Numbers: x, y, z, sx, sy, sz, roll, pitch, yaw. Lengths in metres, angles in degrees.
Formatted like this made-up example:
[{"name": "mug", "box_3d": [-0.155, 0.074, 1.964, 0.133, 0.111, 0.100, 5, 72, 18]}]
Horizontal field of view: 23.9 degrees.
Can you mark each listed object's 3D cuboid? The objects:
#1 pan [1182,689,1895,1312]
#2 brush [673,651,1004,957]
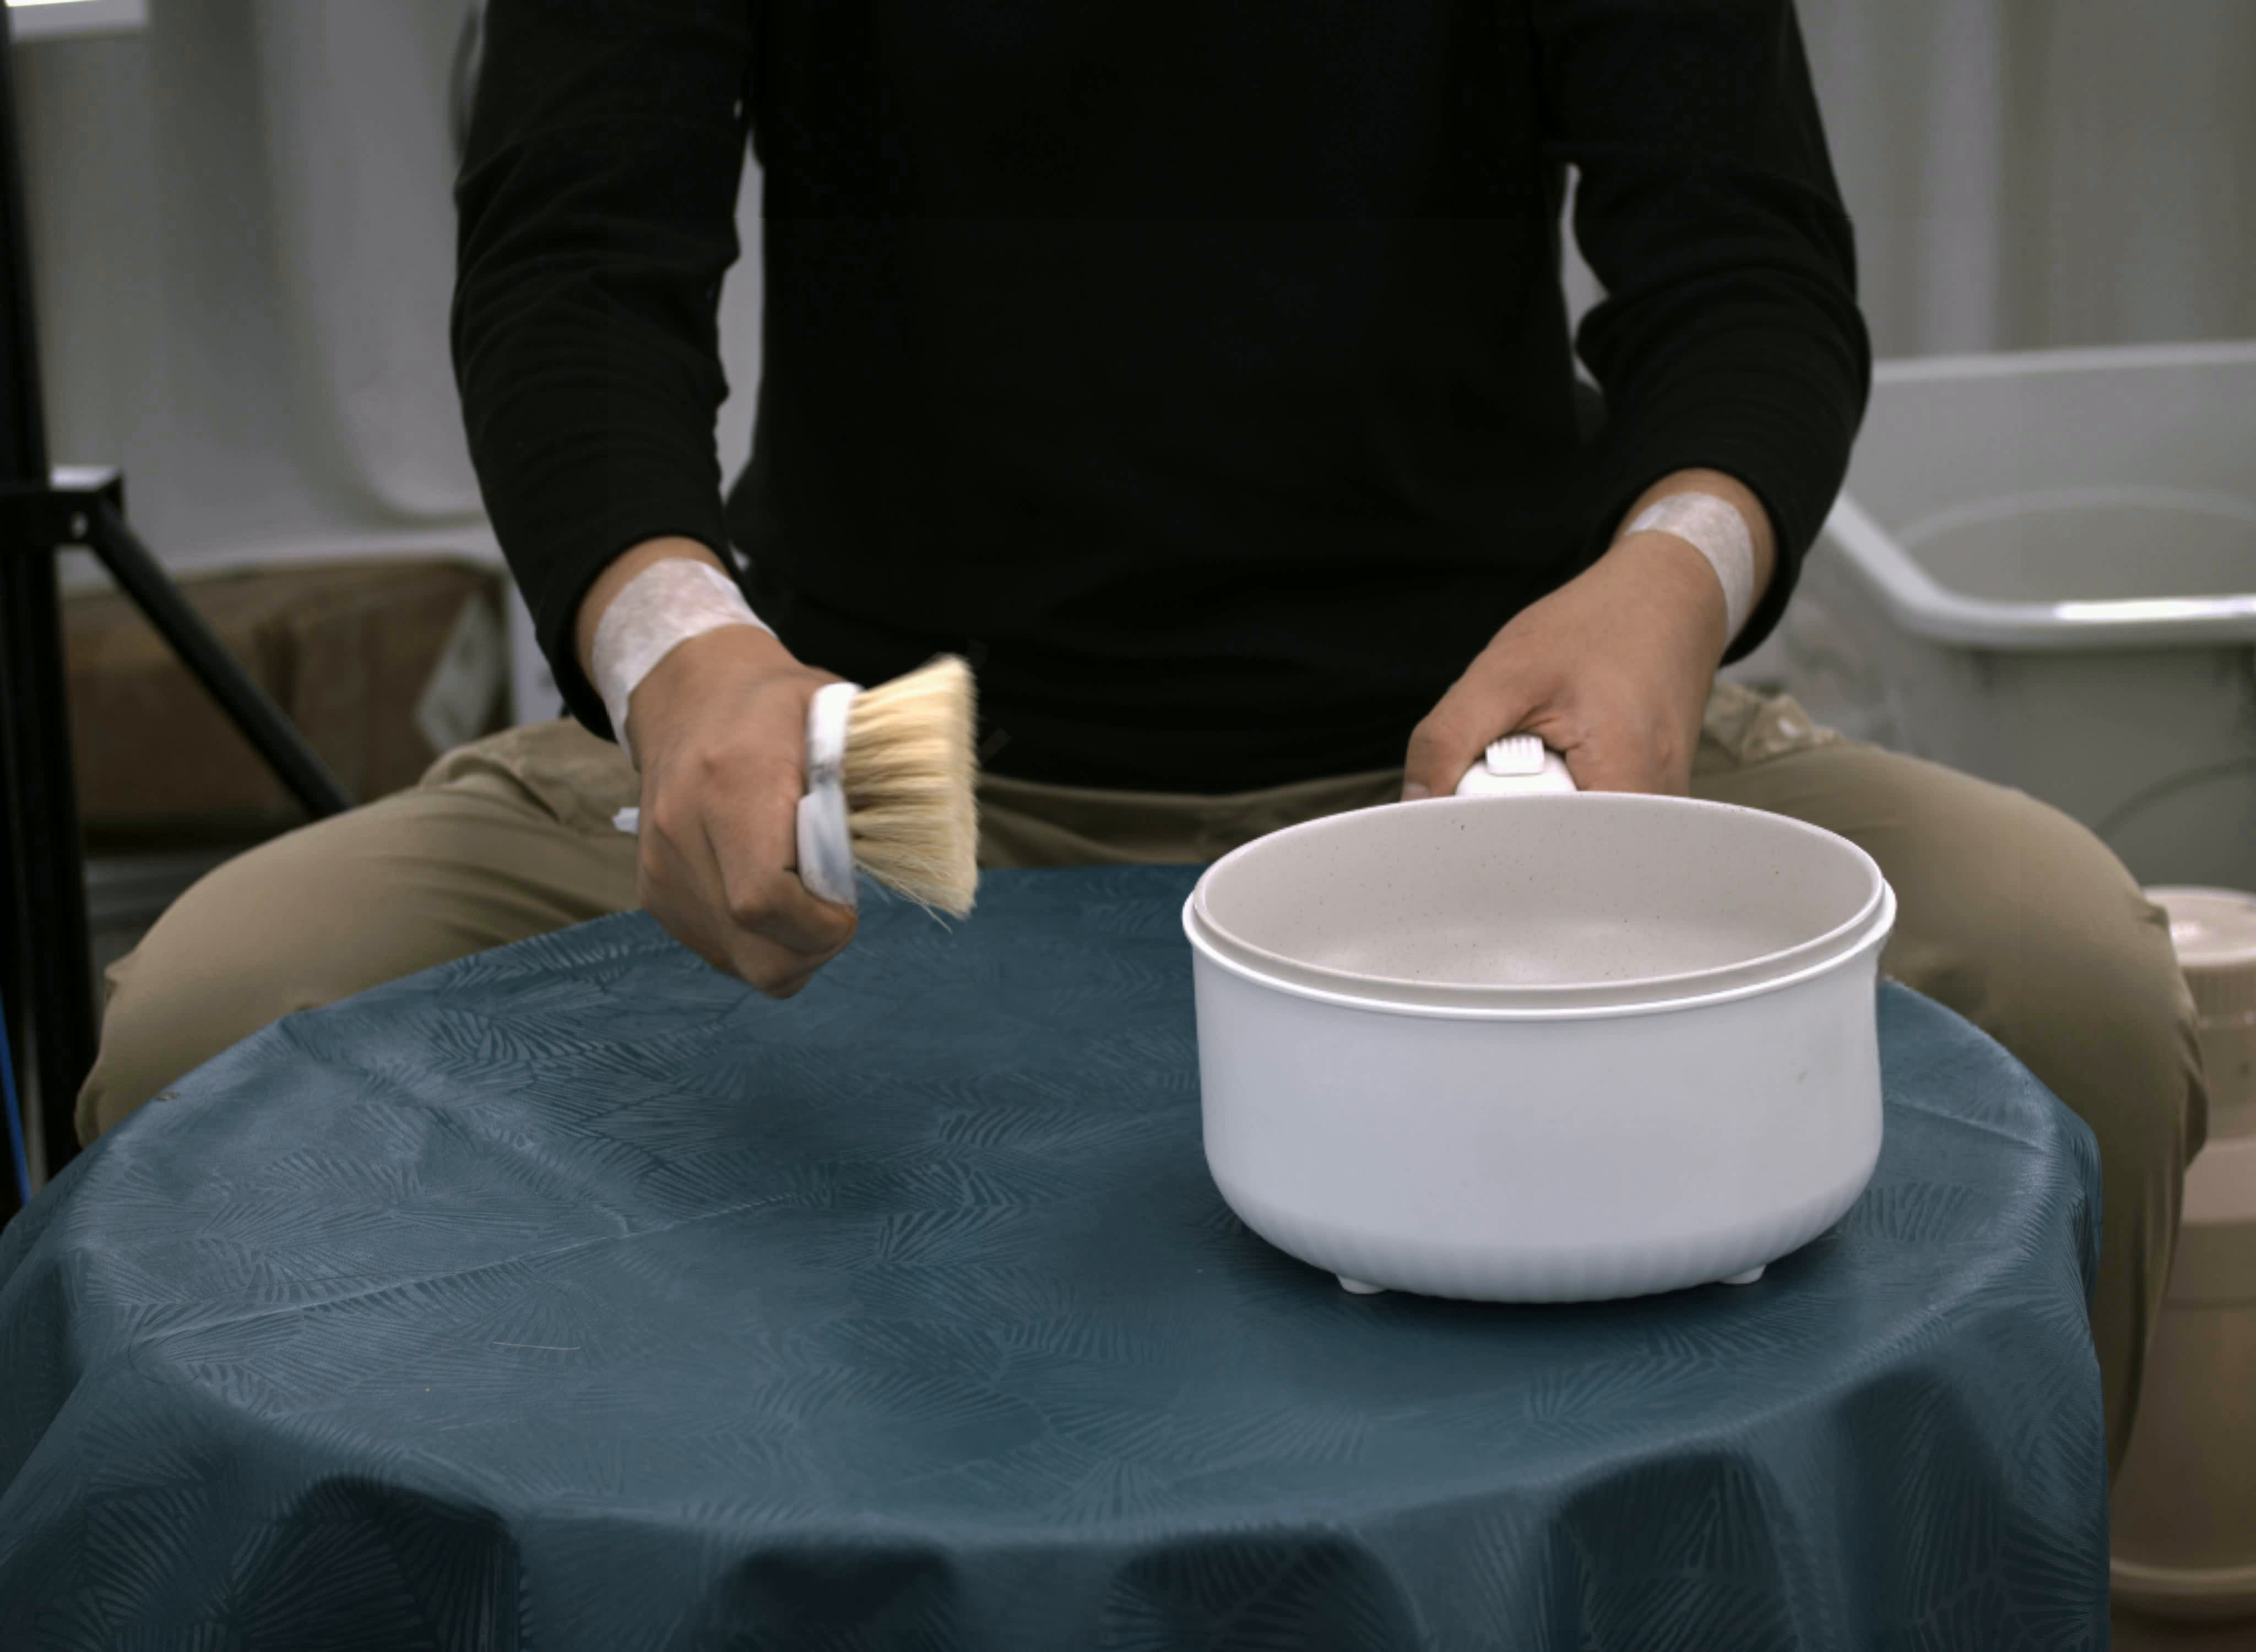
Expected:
[{"name": "pan", "box_3d": [0.119, 0.047, 1.579, 0.201, 0.102, 0.355, -3, 15, 3]}, {"name": "brush", "box_3d": [-0.085, 0.004, 1.579, 0.055, 0.069, 0.268, 10, -15, -13]}]
